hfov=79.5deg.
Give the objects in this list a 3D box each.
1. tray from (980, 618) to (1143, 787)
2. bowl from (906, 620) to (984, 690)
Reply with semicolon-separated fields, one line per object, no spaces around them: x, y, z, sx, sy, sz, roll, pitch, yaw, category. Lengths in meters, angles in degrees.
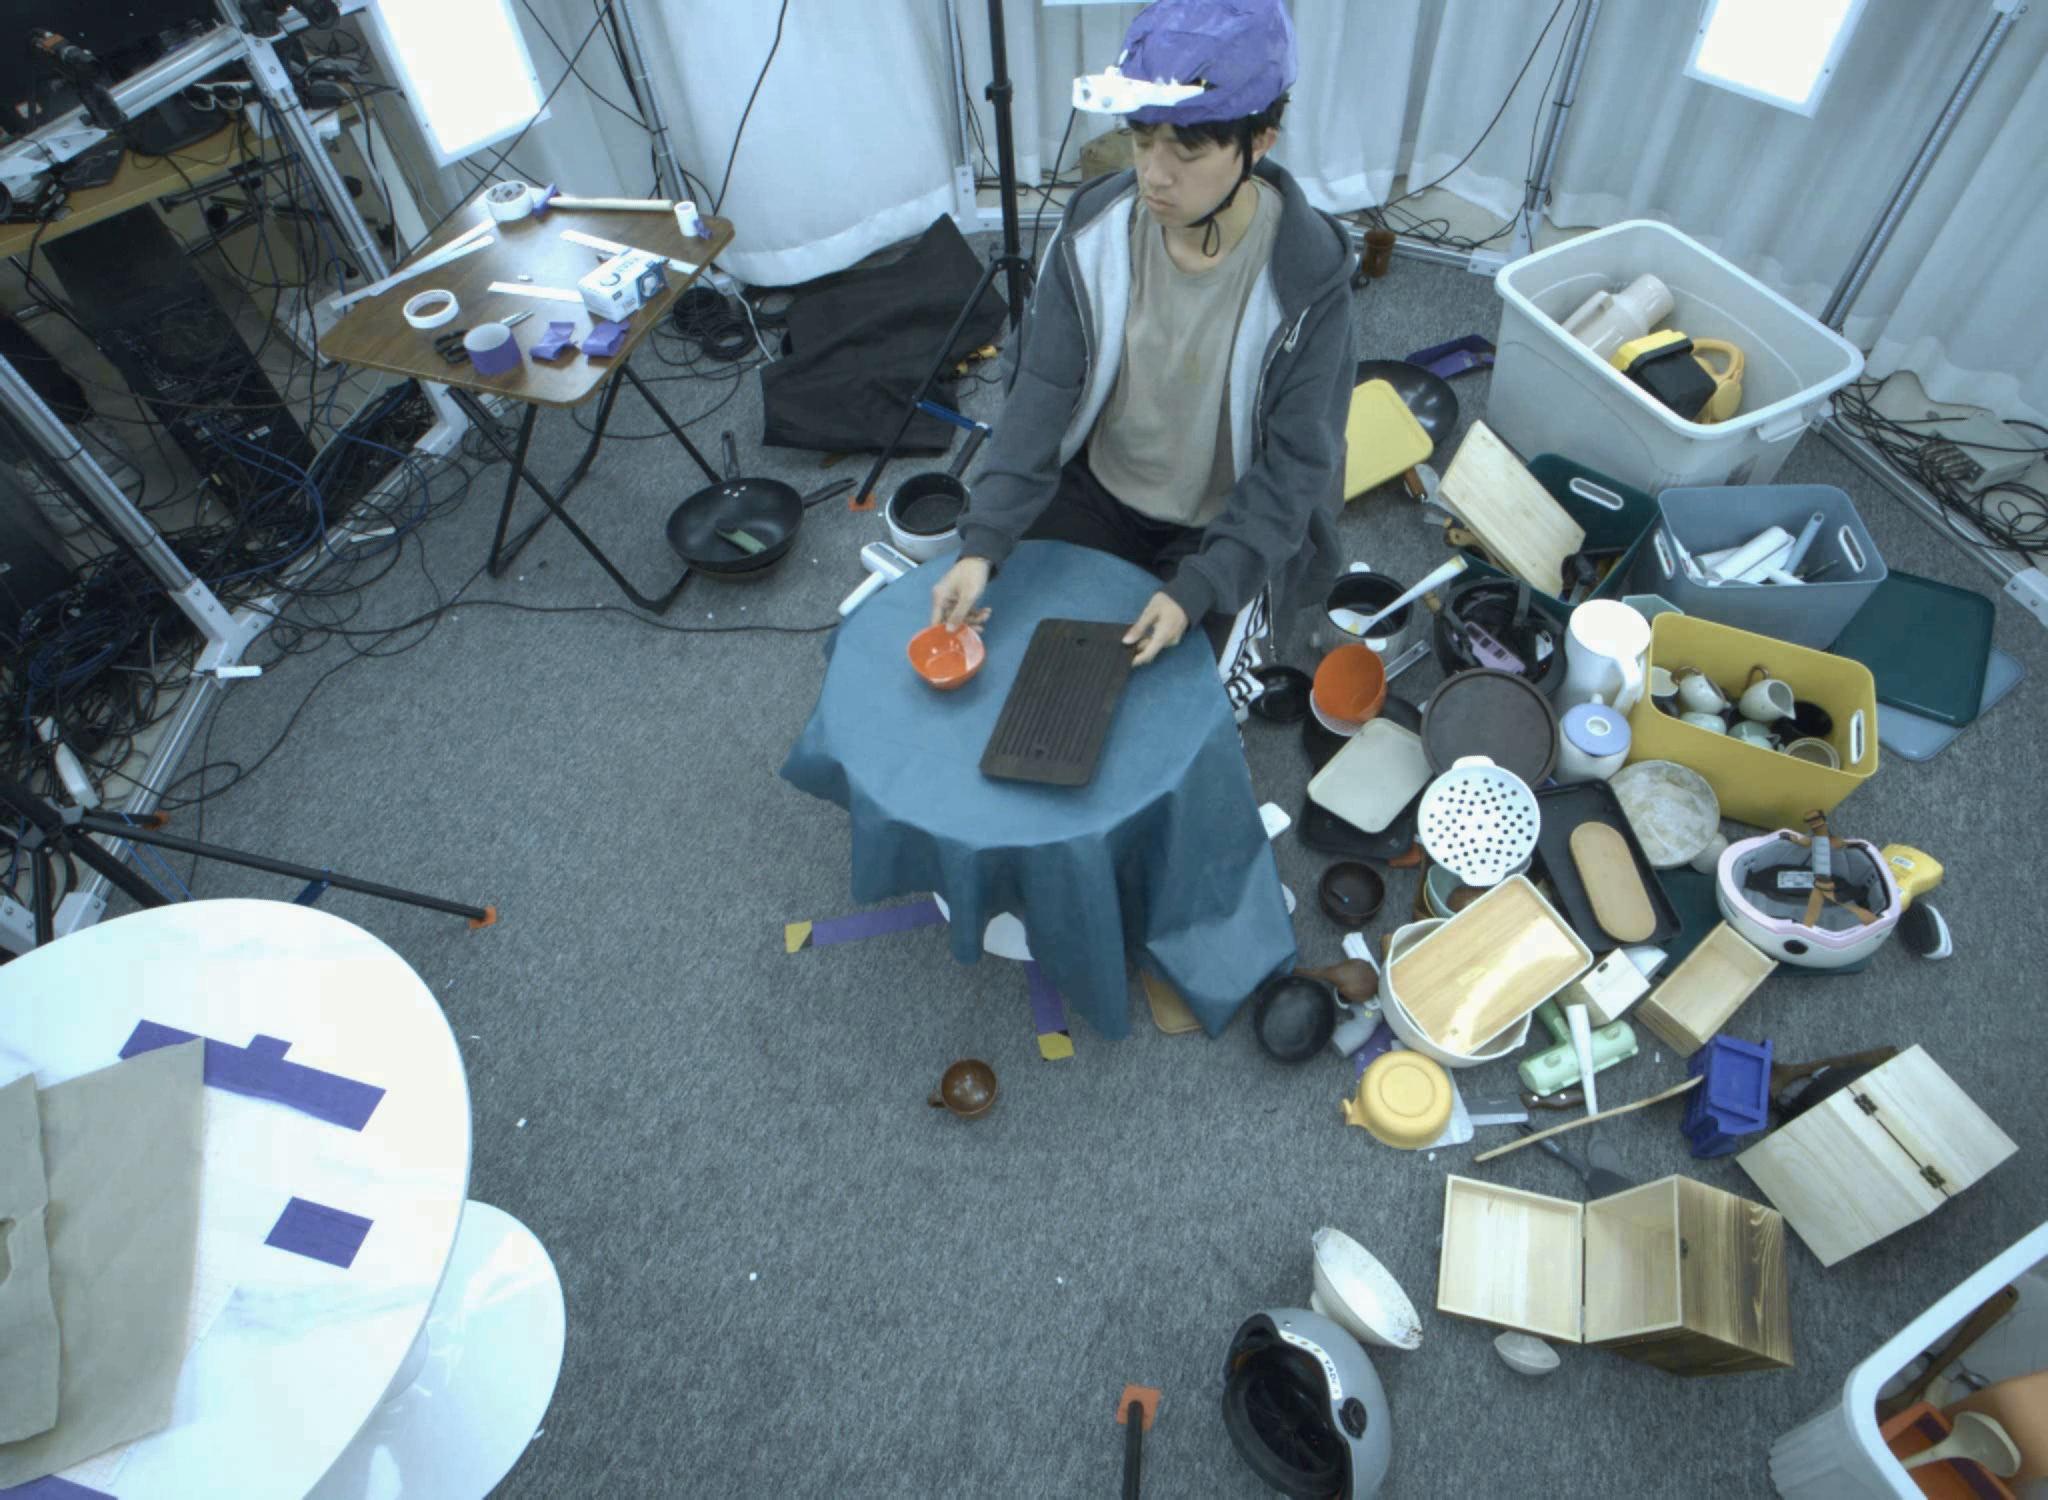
0.059;-0.075;1.810;0.167;0.019;0.305;7;55;21;tray
-0.116;-0.137;1.857;0.119;0.052;0.117;-2;54;3;bowl
